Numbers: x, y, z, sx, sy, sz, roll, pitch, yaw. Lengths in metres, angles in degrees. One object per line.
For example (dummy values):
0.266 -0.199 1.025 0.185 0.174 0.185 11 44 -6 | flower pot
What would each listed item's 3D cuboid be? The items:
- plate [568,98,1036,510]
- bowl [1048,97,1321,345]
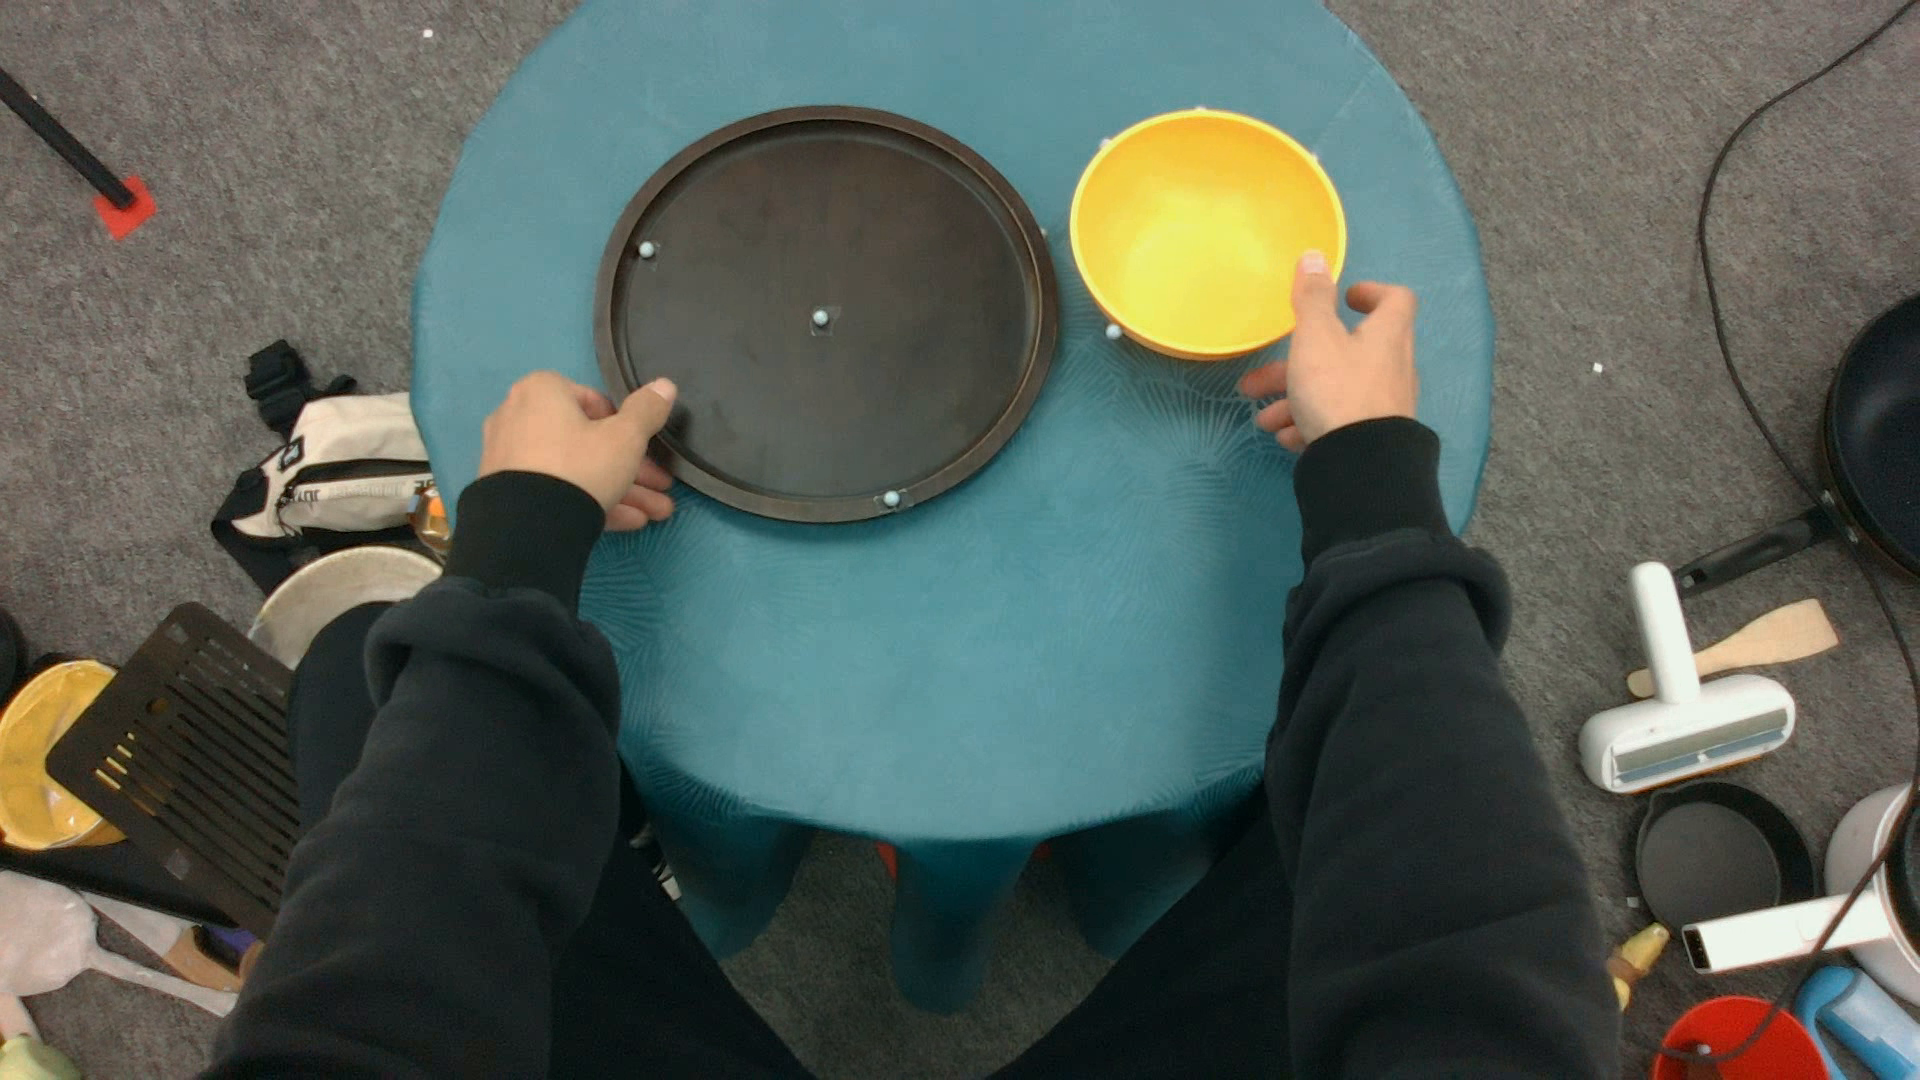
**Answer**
-0.085 -0.133 0.754 0.255 0.029 0.255 2 71 -5 | plate
0.119 -0.164 0.755 0.145 0.060 0.145 0 74 -1 | bowl
